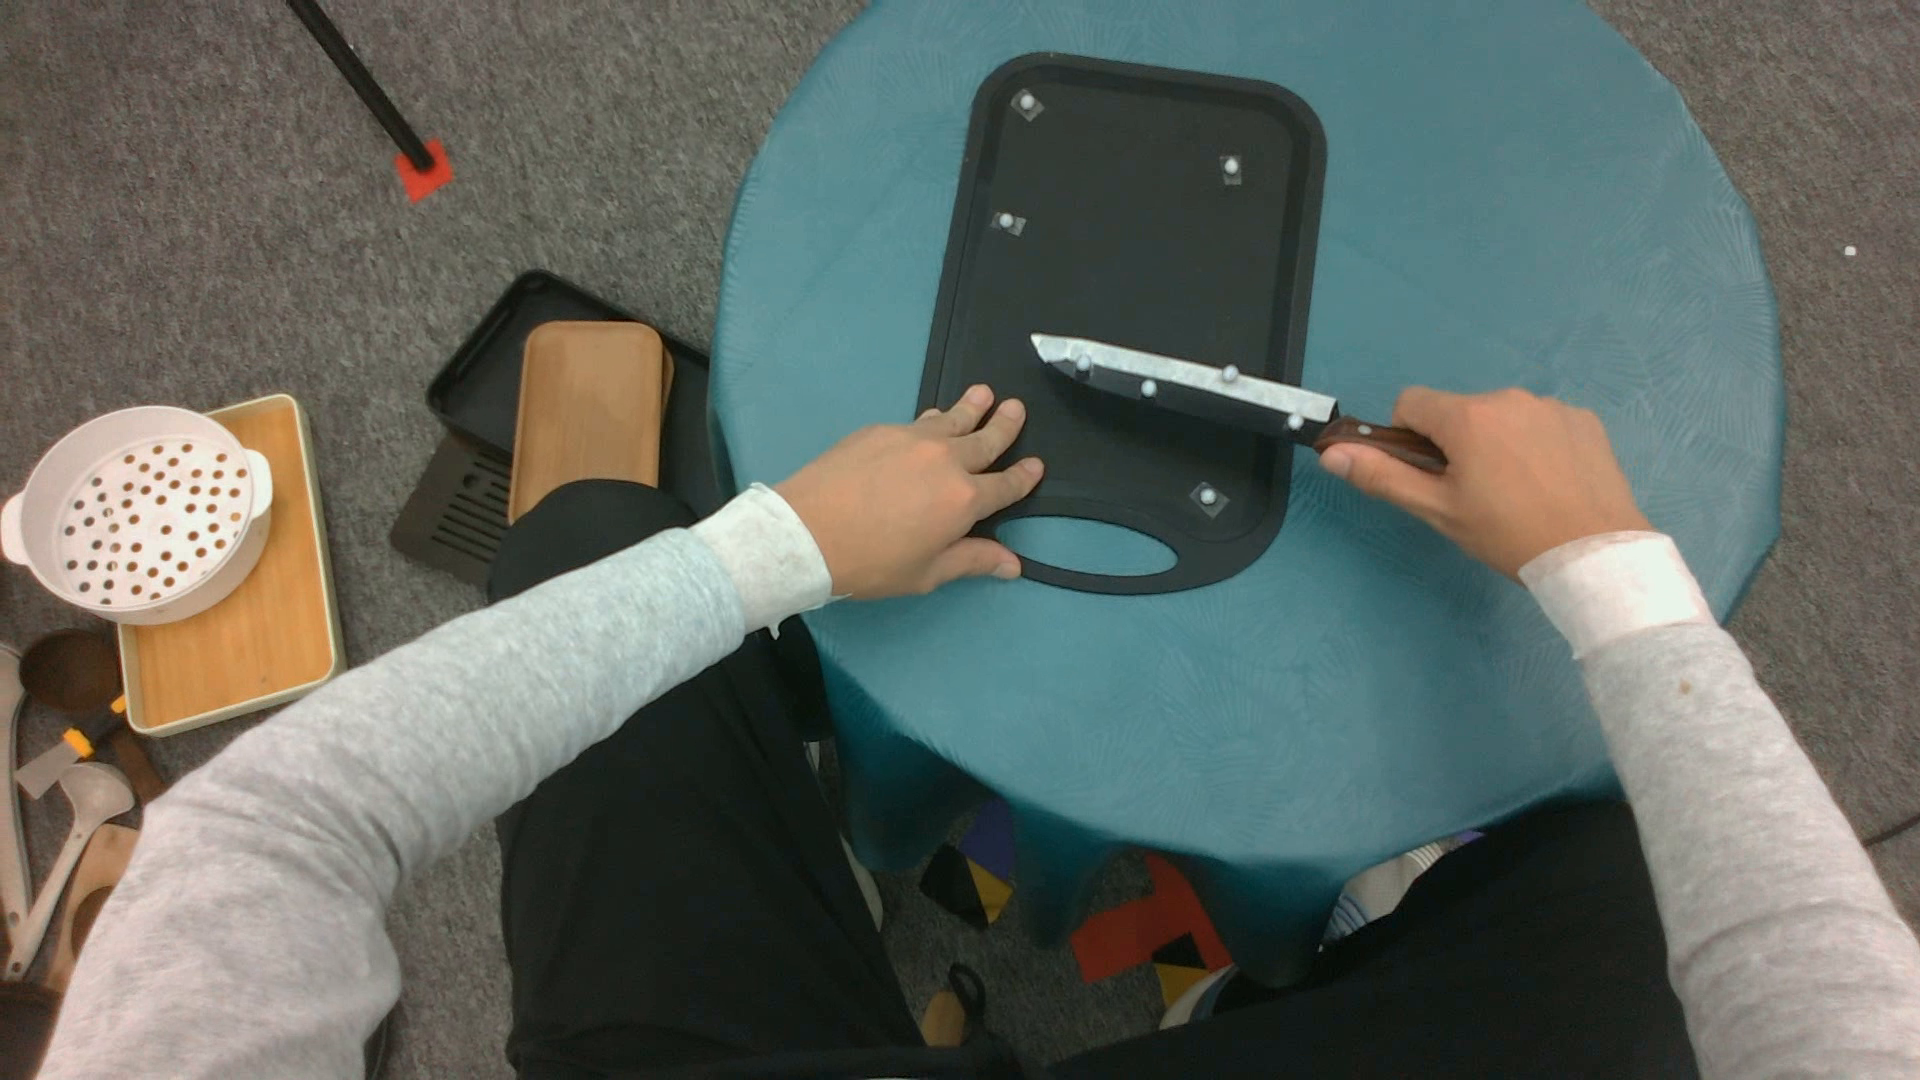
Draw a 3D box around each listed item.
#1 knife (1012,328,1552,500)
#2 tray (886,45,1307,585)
[{"bbox_3d":[0.161,-0.071,0.720,0.289,0.020,0.050,18,44,14],"label":"knife"},{"bbox_3d":[0.080,-0.133,0.778,0.211,0.010,0.326,10,74,3],"label":"tray"}]
